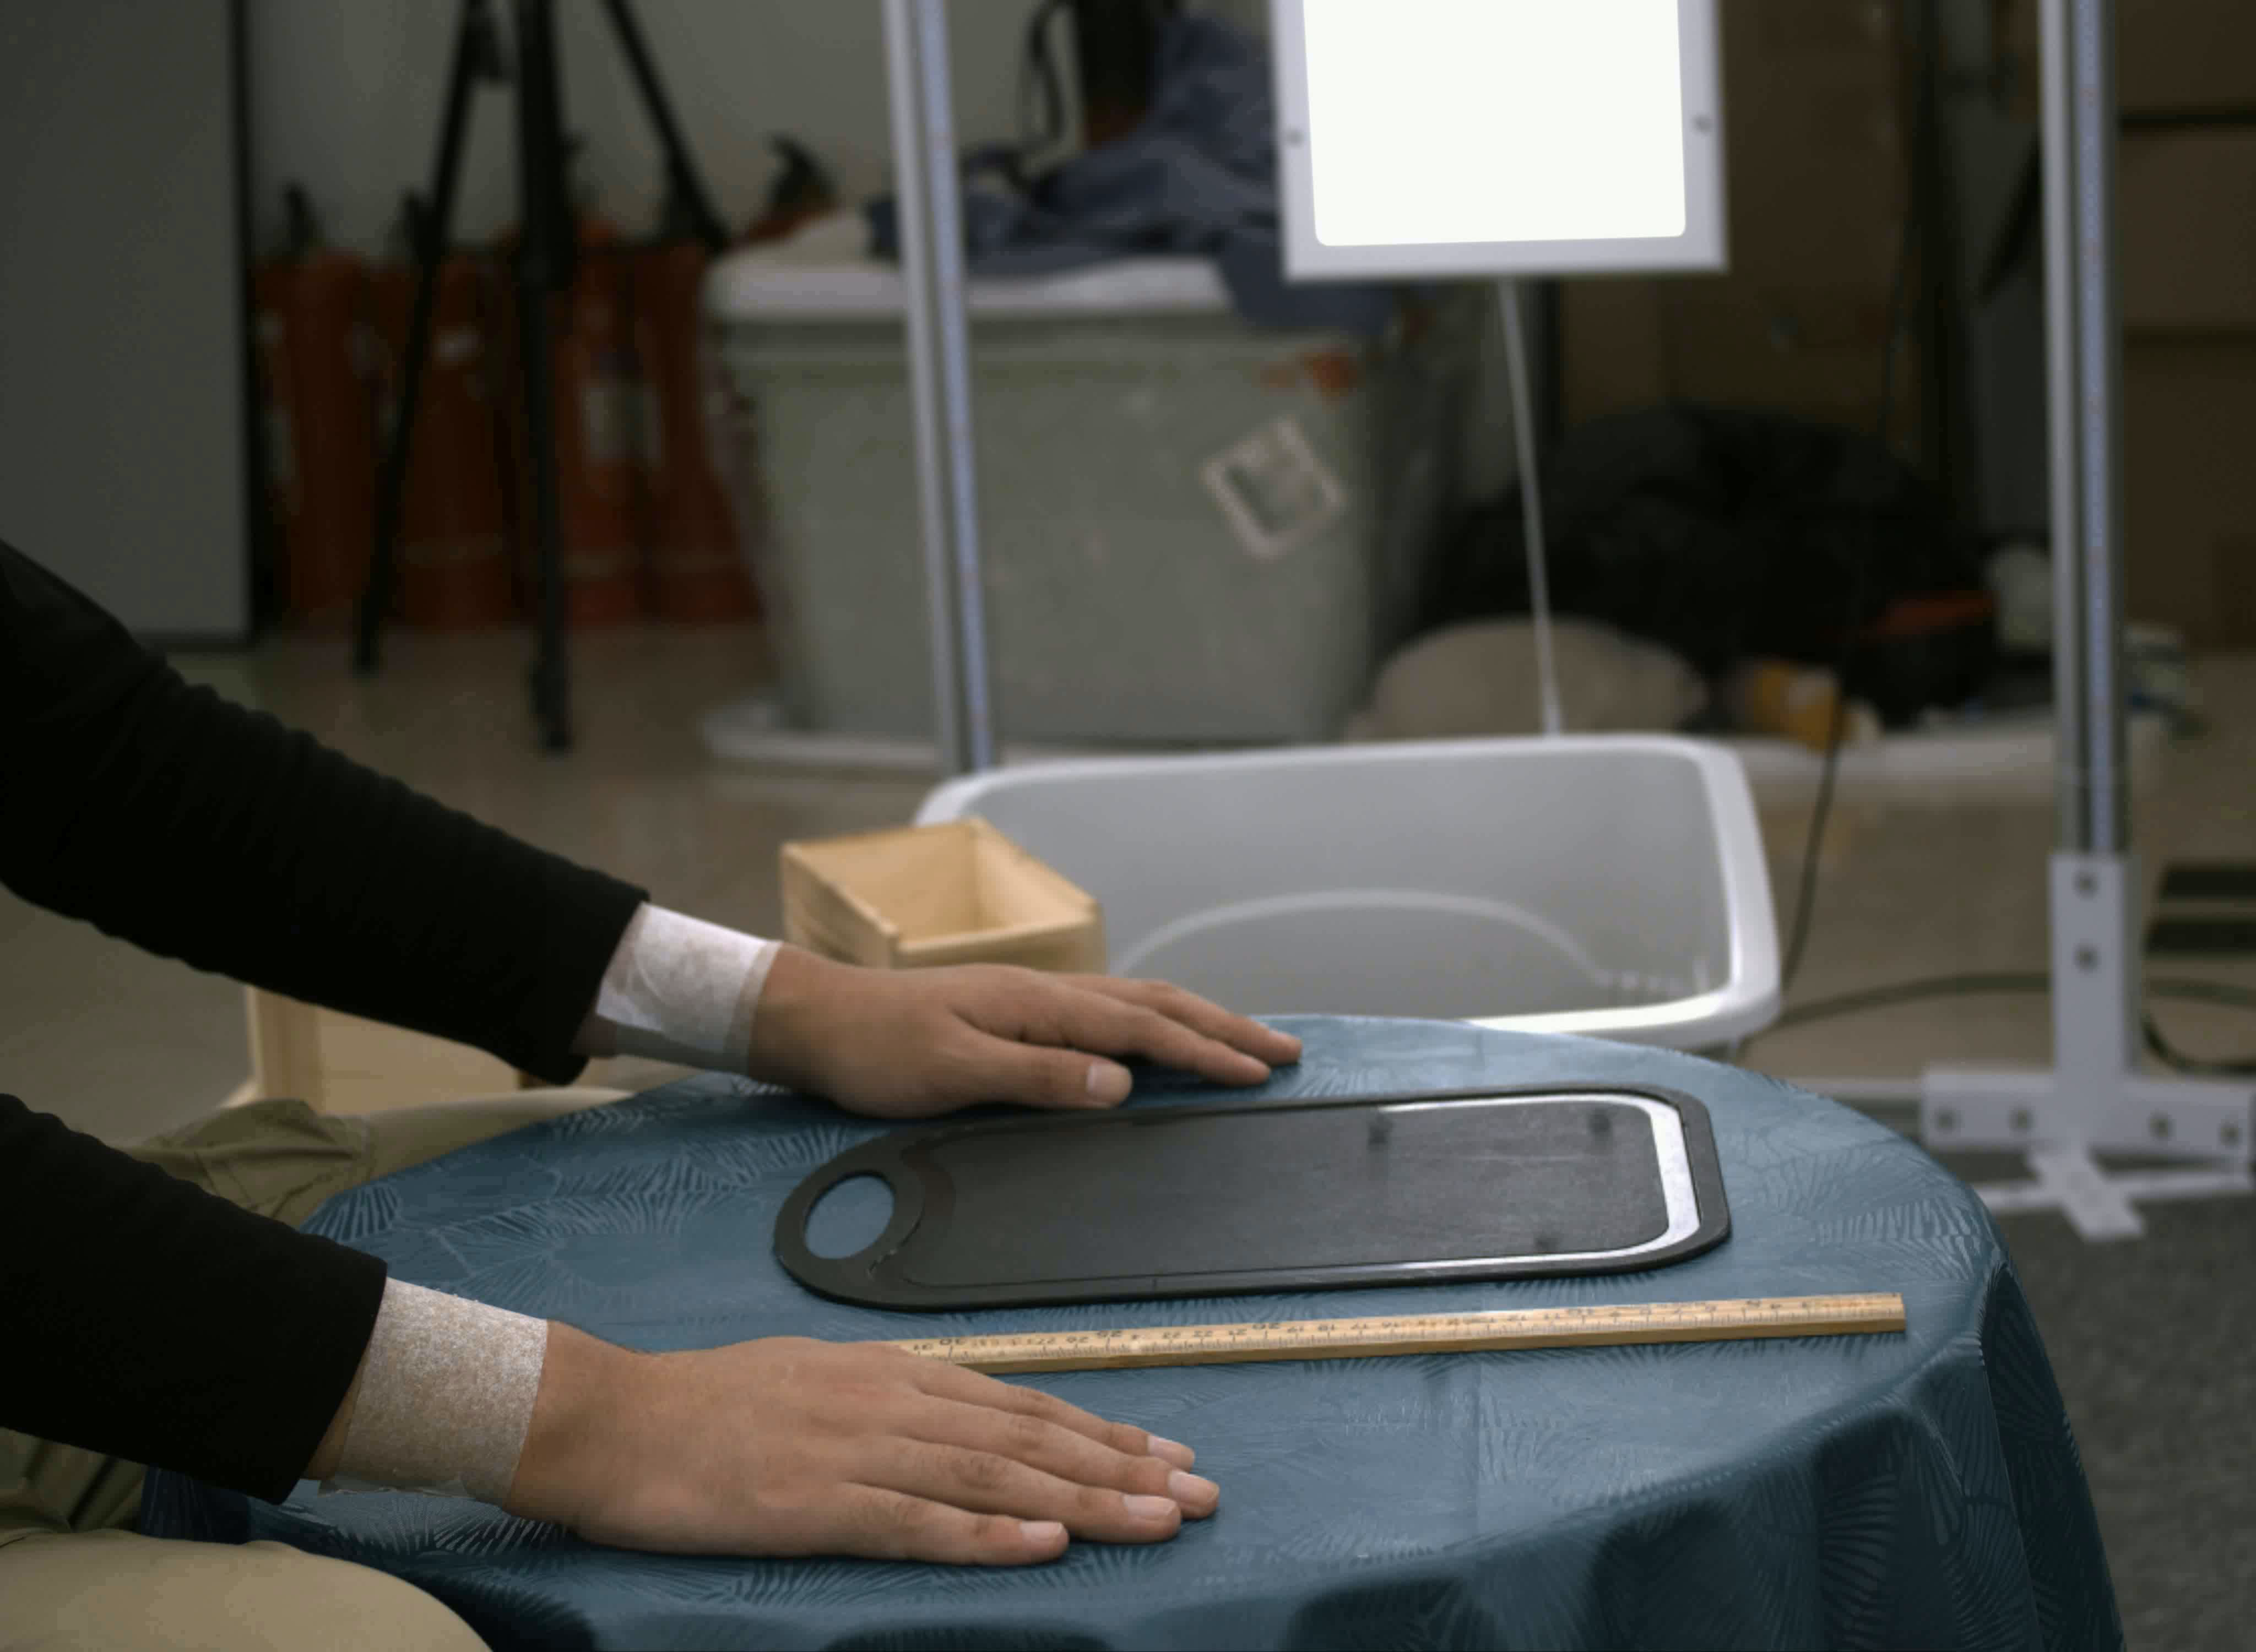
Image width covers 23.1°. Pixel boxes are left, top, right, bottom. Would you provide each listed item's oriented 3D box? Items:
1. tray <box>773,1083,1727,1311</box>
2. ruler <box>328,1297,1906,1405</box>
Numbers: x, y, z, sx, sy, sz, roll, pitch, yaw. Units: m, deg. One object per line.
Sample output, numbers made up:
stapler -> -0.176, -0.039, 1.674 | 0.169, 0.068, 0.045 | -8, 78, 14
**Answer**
tray -> 0.040, 0.124, 1.879 | 0.326, 0.010, 0.210 | -4, 14, 6
ruler -> -0.006, 0.165, 1.734 | 0.502, 0.006, 0.026 | -3, 12, 8
